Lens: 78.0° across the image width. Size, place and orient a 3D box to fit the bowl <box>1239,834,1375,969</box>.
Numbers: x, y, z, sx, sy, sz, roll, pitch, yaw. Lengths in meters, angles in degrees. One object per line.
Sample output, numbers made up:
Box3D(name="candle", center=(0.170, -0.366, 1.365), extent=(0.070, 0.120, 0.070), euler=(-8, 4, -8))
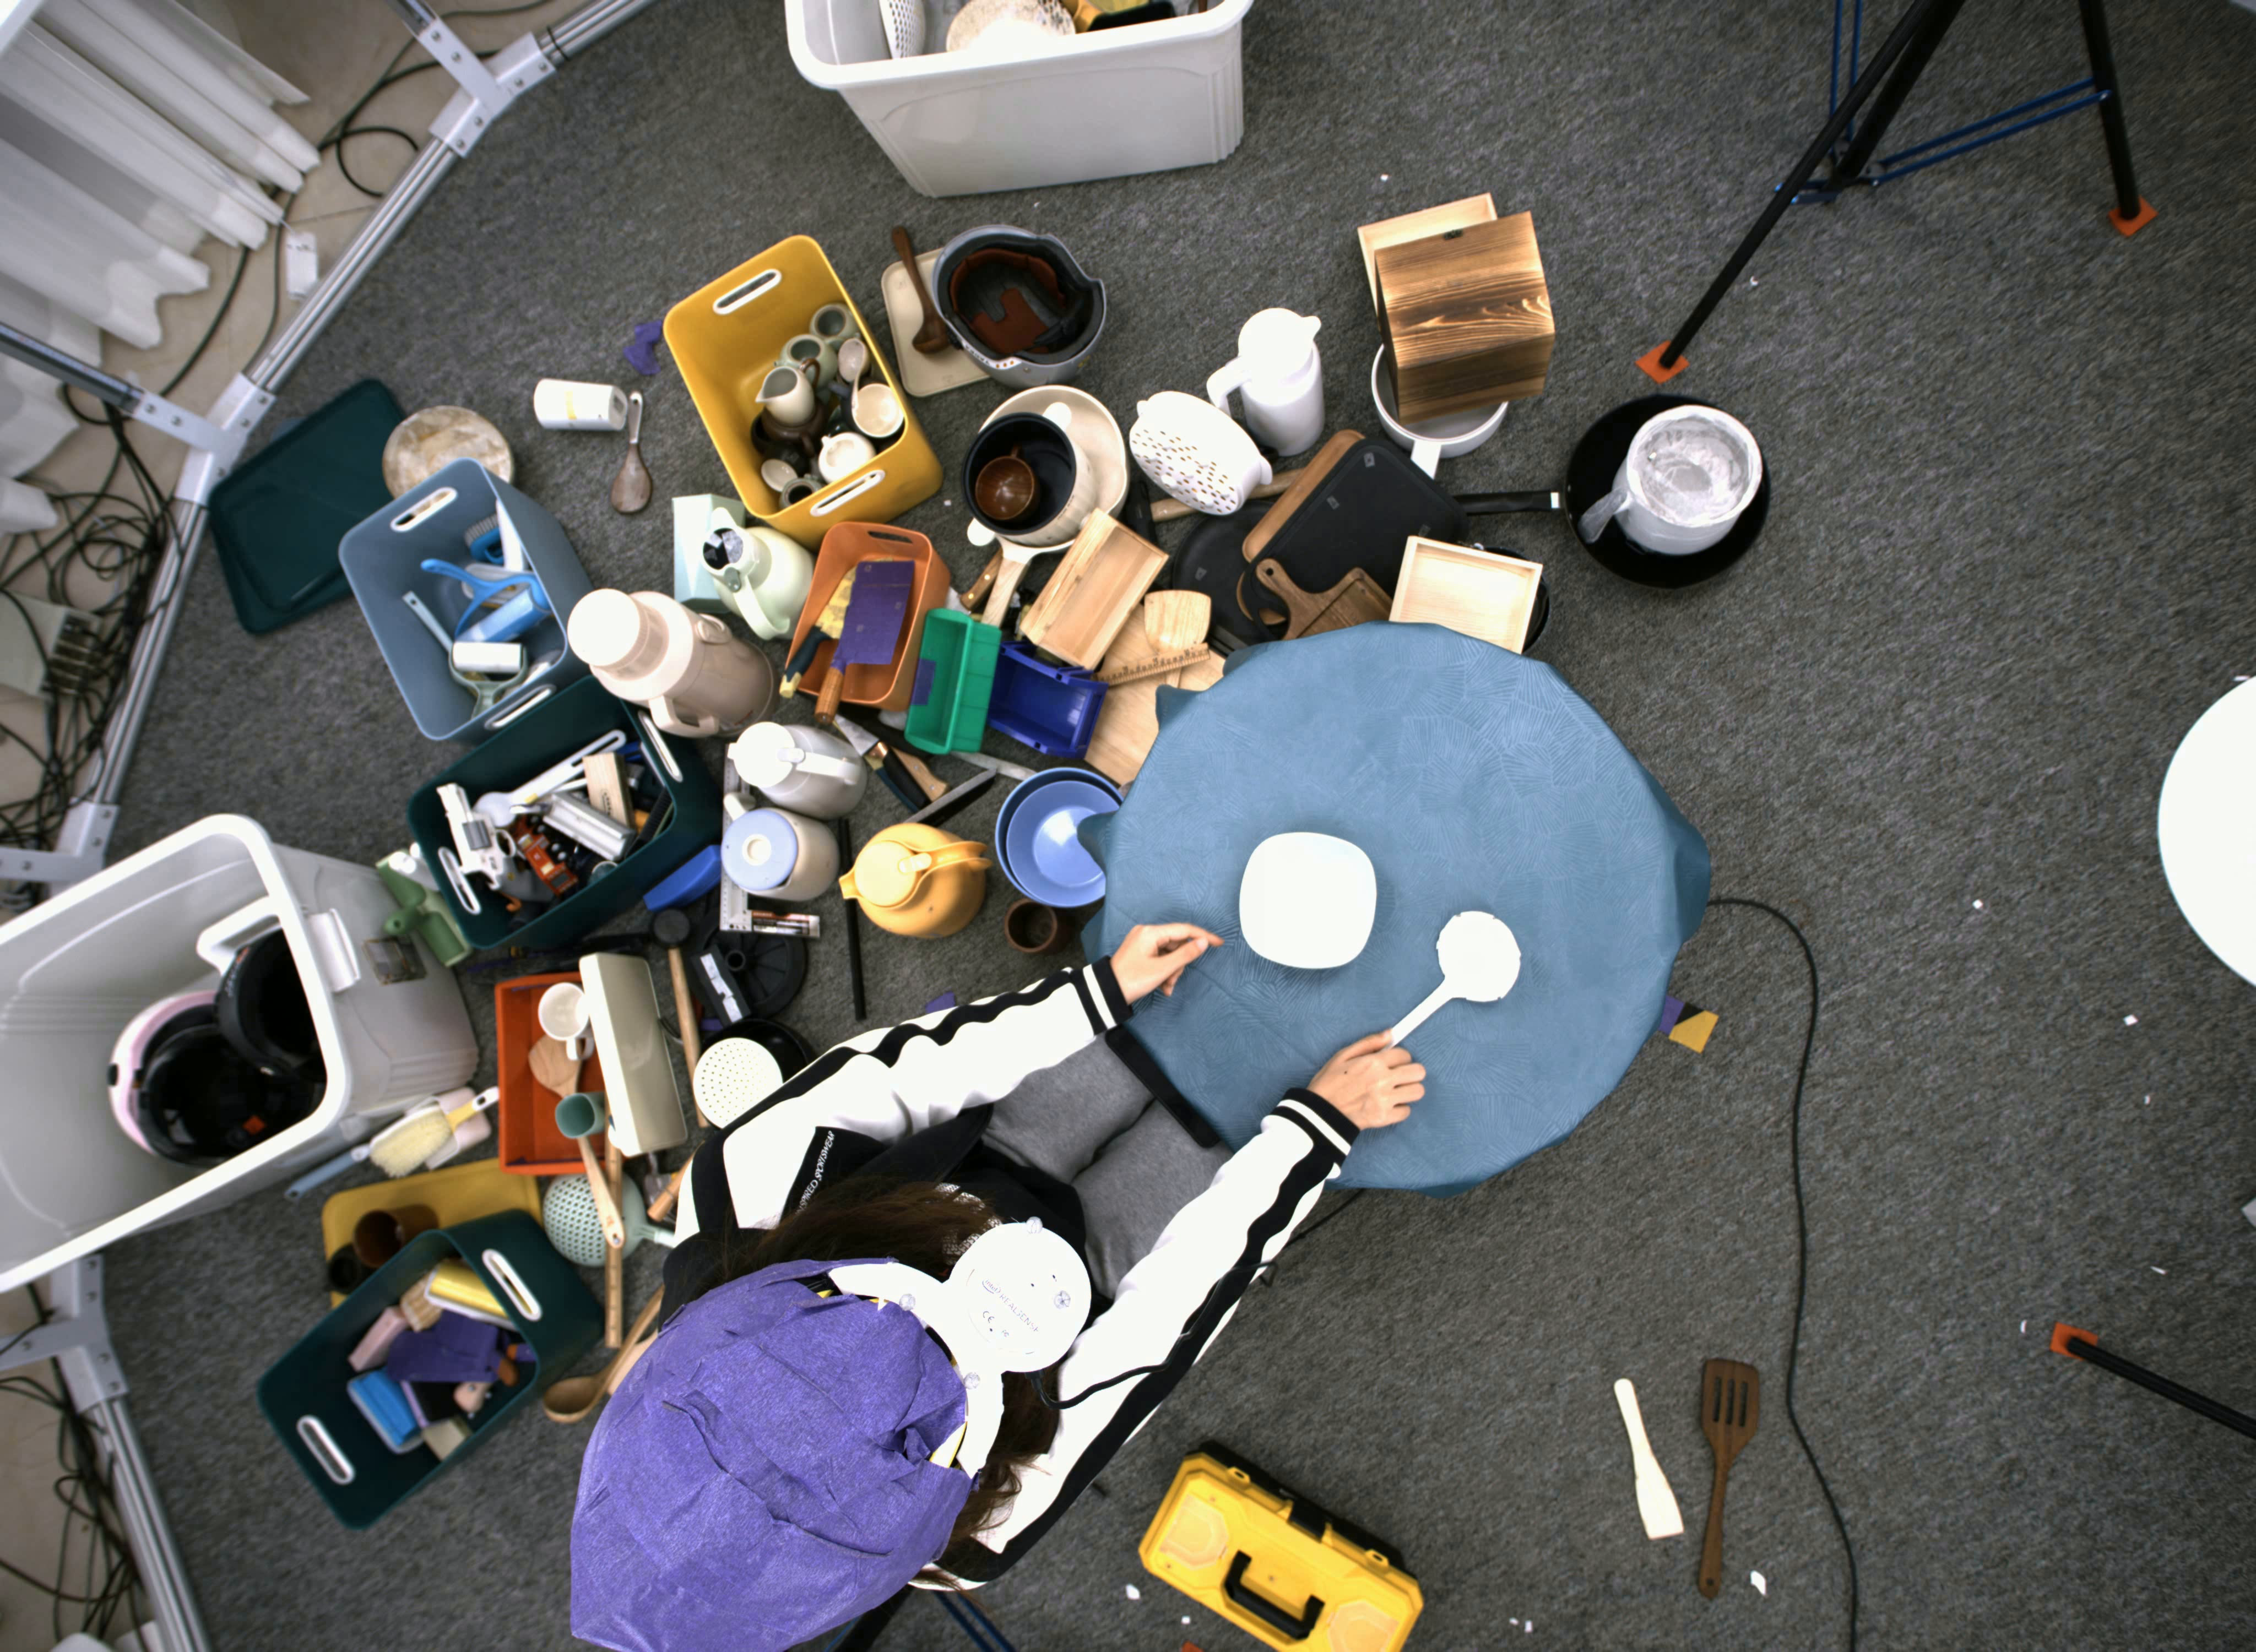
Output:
Box3D(name="bowl", center=(0.189, 0.079, 1.449), extent=(0.152, 0.058, 0.151), euler=(-1, 86, 11))

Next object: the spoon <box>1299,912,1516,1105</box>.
Box3D(name="spoon", center=(0.278, 0.192, 1.425), extent=(0.279, 0.060, 0.099), euler=(-39, 61, 7))
